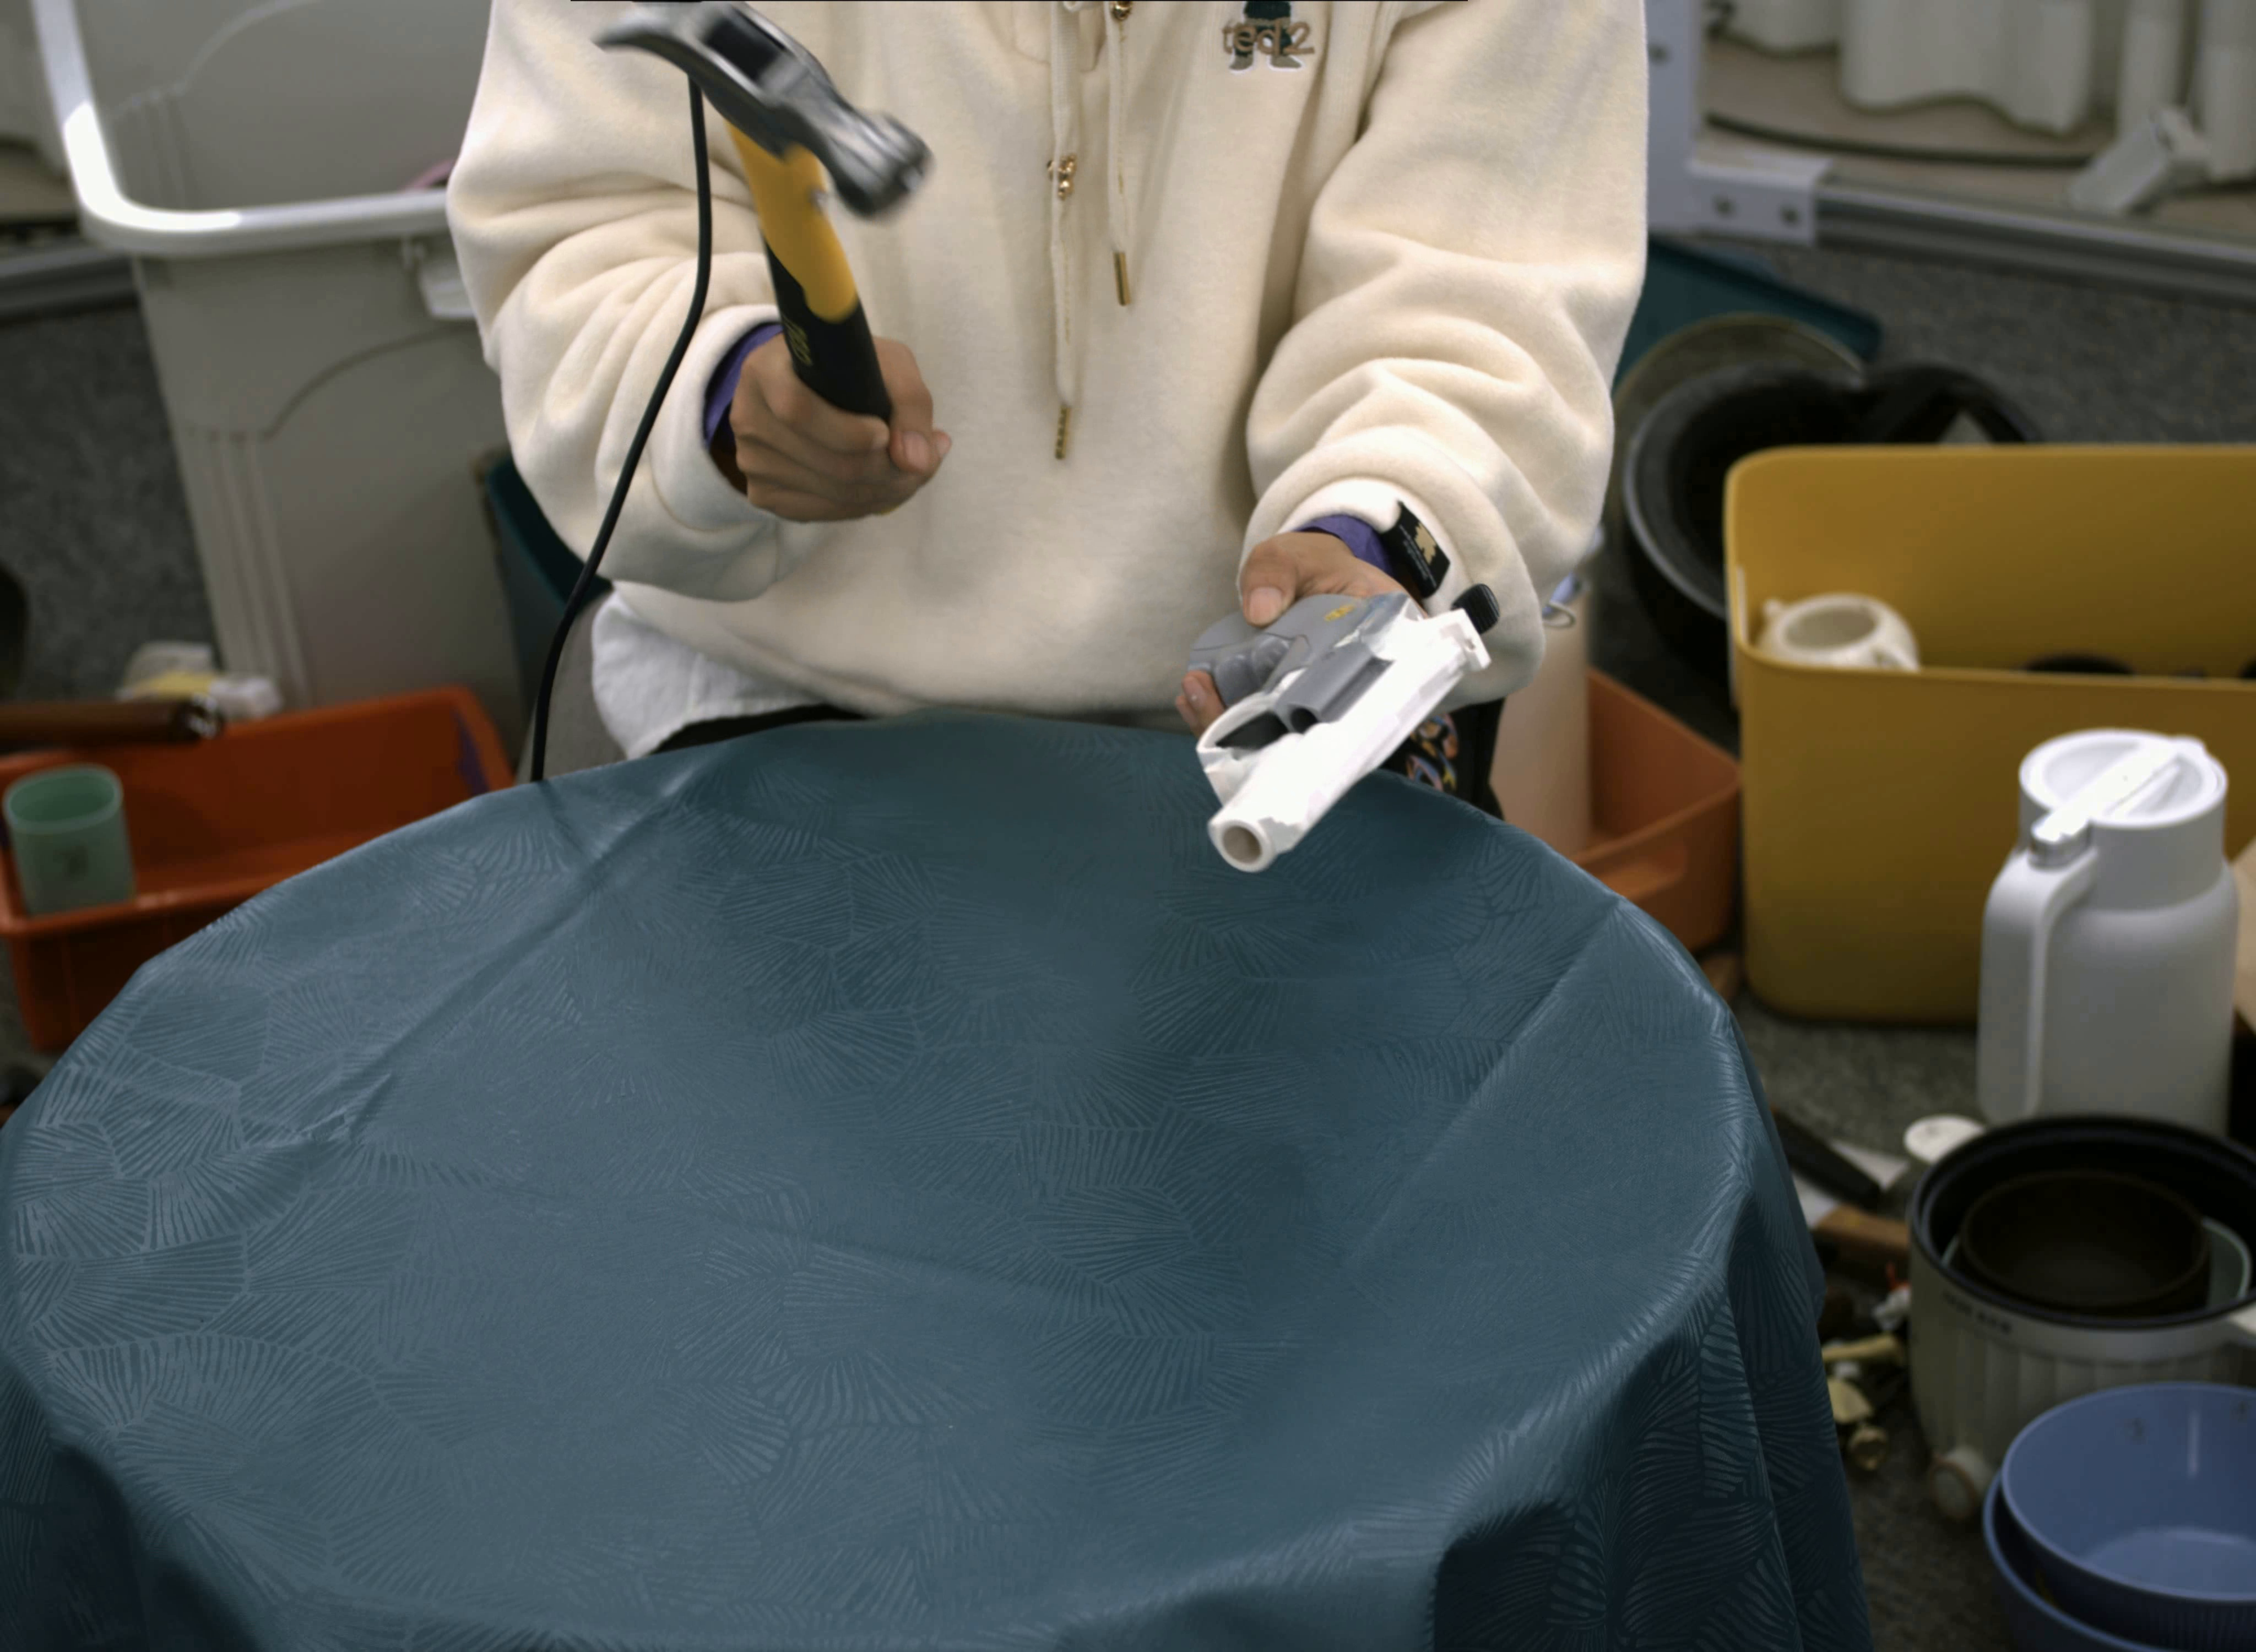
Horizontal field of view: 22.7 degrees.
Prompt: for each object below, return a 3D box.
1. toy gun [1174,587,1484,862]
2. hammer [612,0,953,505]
[{"bbox_3d":[0.046,-0.035,1.847,0.140,0.038,0.212,-16,18,35],"label":"toy gun"},{"bbox_3d":[-0.102,-0.188,1.935,0.131,0.335,0.032,39,78,15],"label":"hammer"}]
